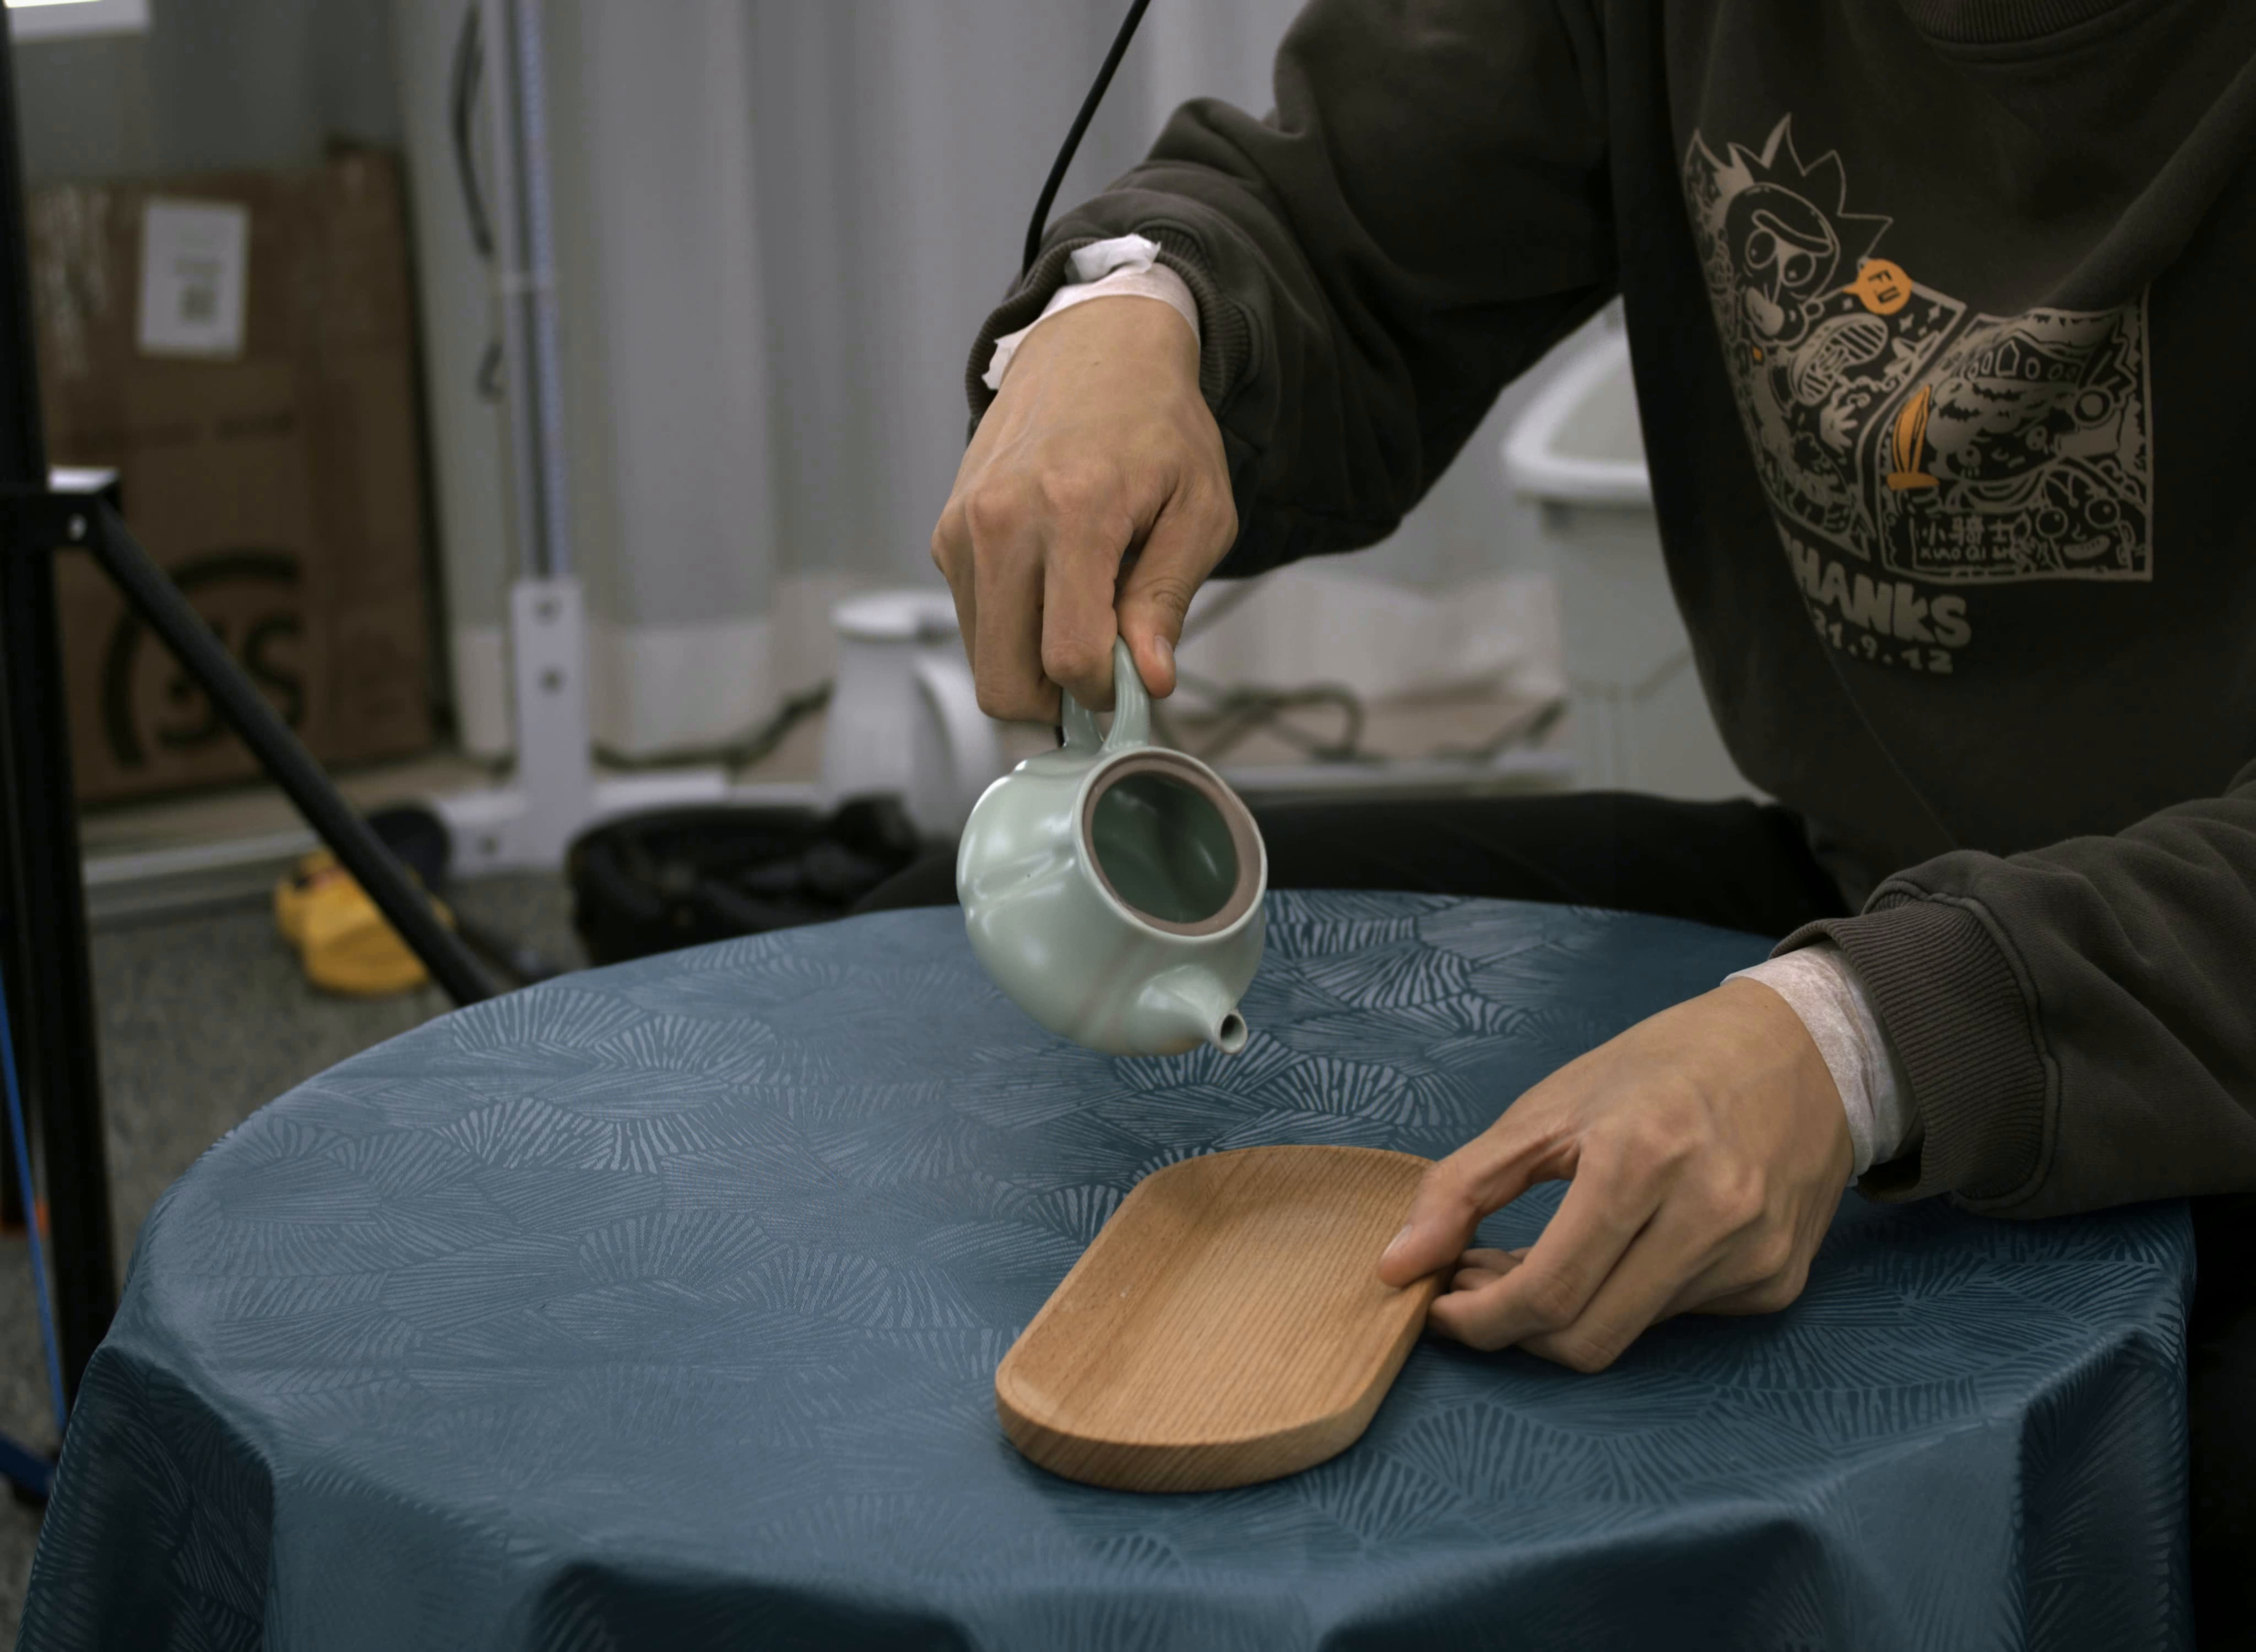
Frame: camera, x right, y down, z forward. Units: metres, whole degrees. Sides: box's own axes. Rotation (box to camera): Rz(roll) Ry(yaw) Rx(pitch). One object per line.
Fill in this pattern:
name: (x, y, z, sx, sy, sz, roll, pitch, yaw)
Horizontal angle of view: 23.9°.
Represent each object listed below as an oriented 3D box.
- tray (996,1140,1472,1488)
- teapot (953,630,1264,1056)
tray: (0.032, 0.130, 1.447, 0.102, 0.020, 0.229, 2, 15, 14)
teapot: (-0.001, 0.012, 1.530, 0.094, 0.139, 0.062, -7, -22, -29)
